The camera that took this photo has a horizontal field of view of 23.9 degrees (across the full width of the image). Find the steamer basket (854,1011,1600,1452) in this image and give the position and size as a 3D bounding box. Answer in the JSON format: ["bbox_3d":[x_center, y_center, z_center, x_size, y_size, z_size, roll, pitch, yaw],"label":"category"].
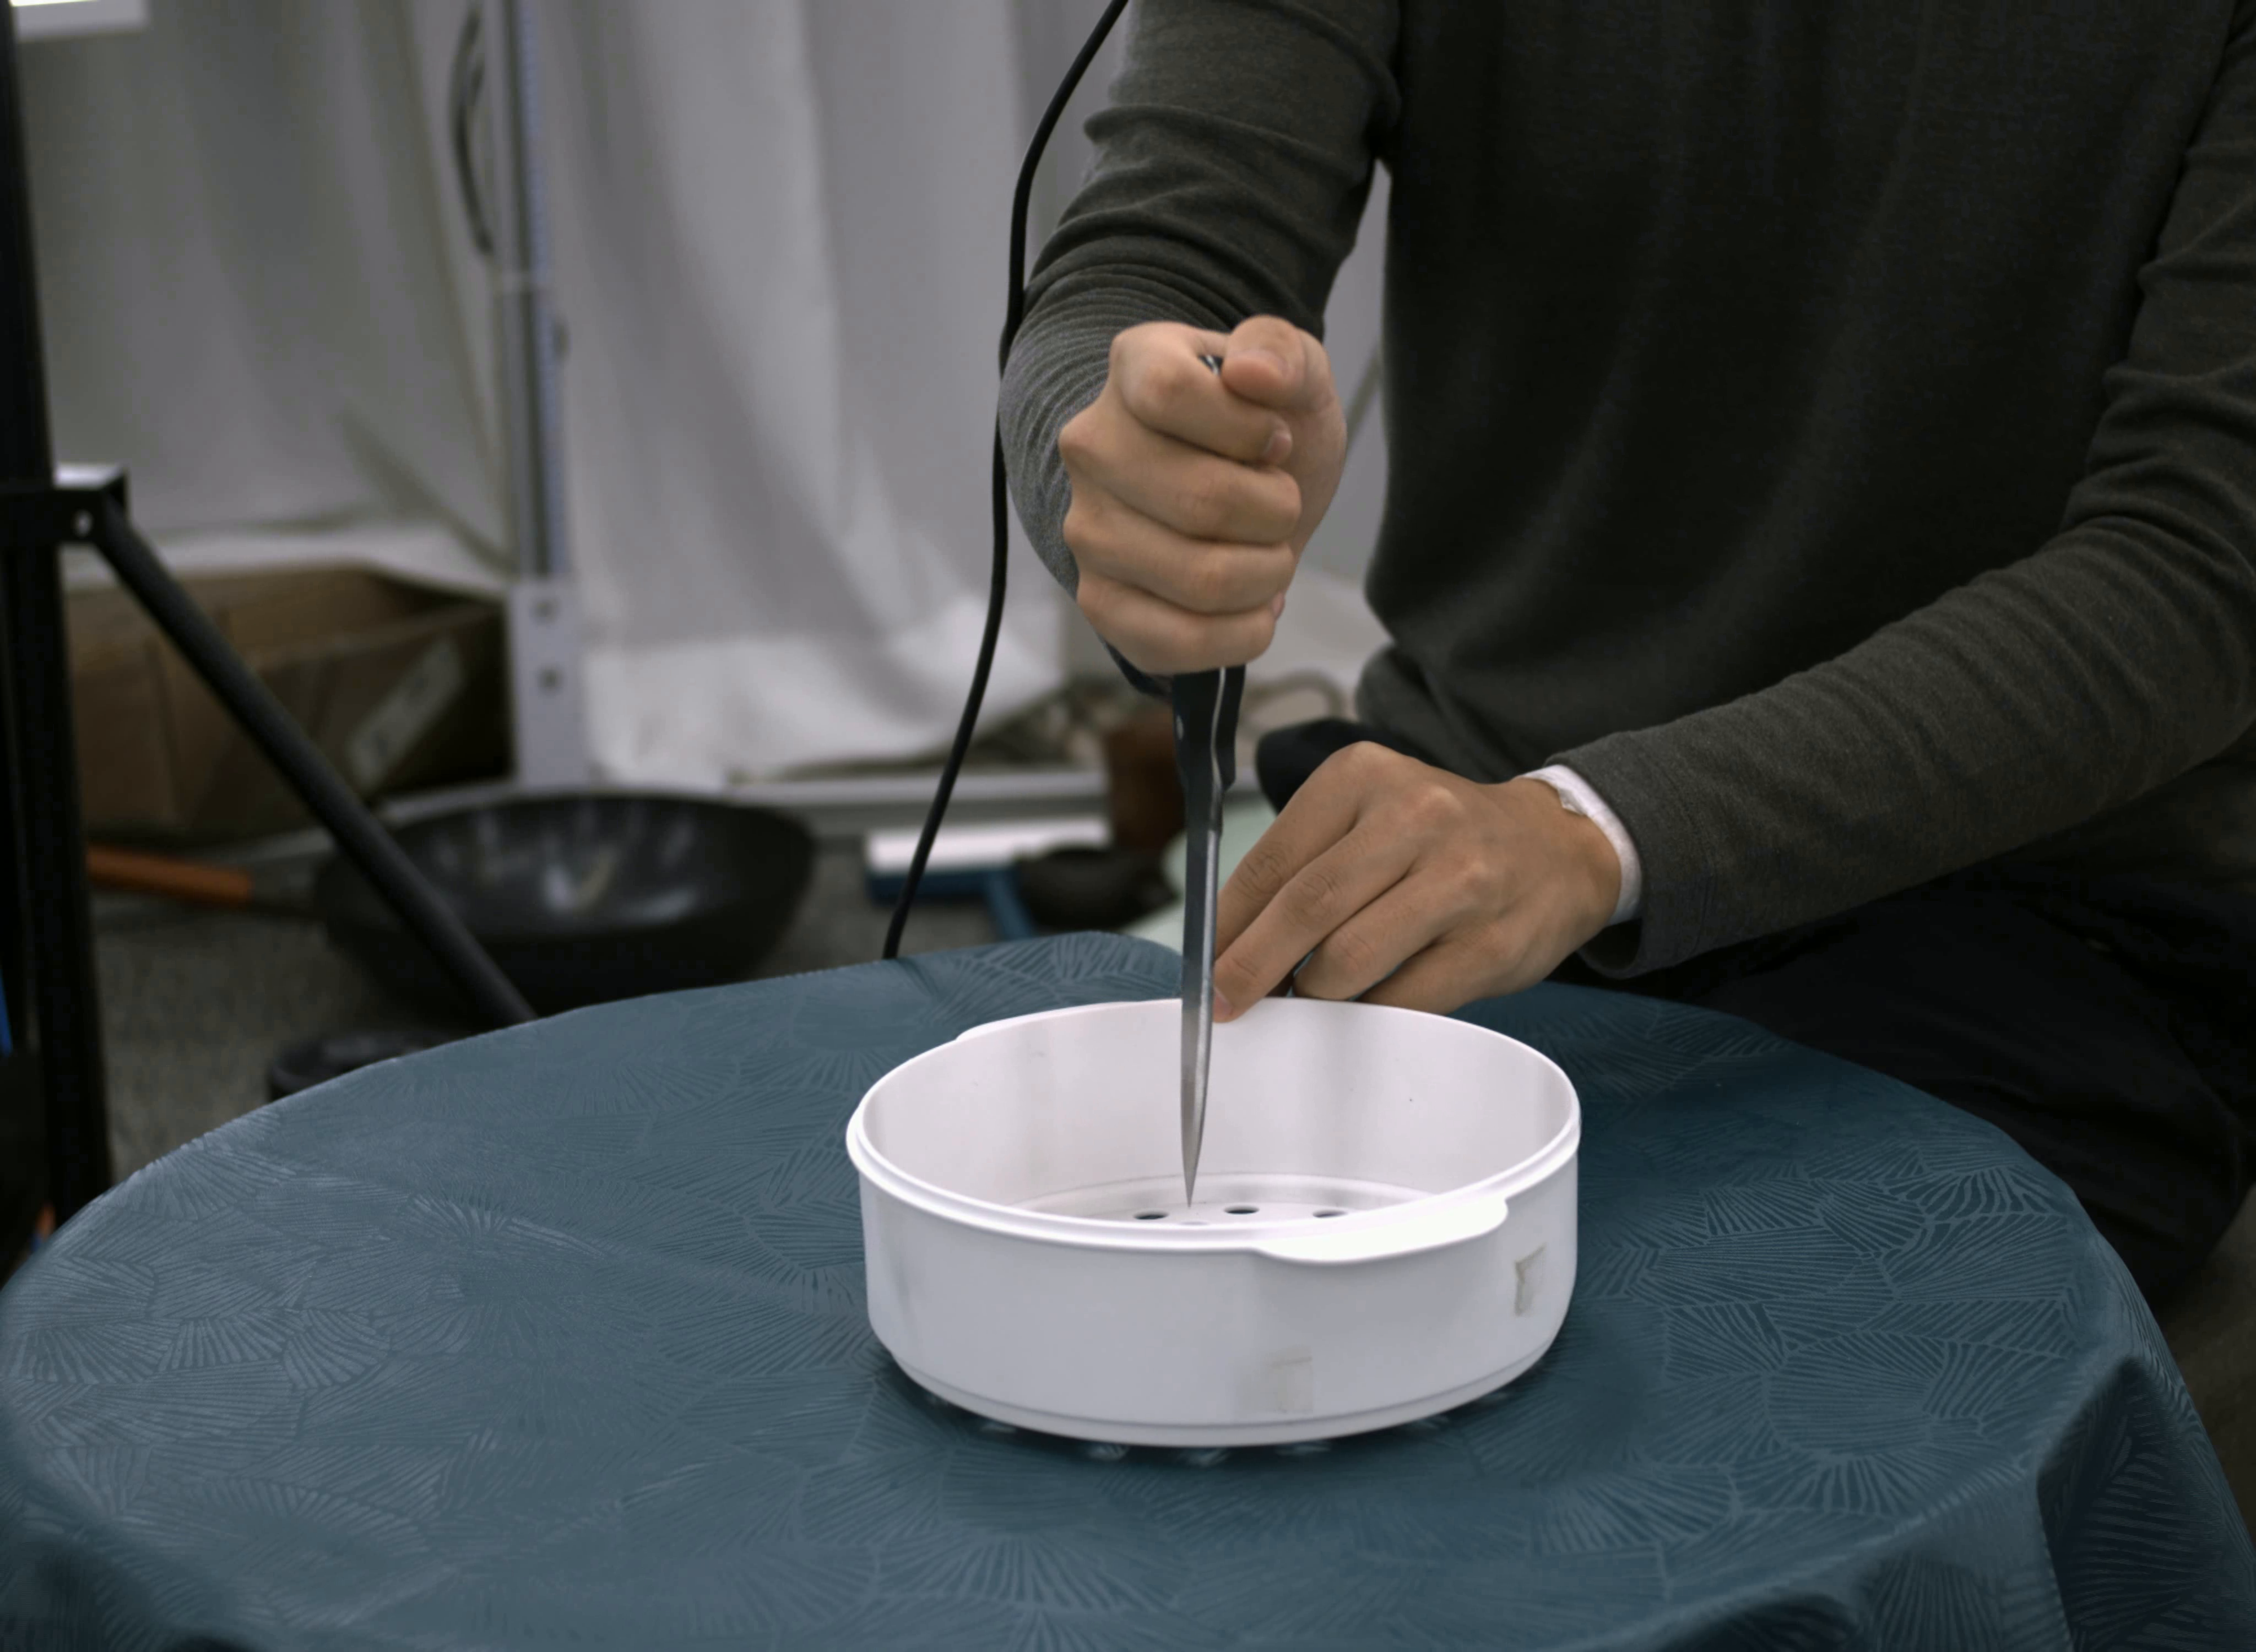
[{"bbox_3d":[0.027,0.109,1.433,0.198,0.069,0.235,-8,15,-22],"label":"steamer basket"}]

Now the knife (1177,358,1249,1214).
[{"bbox_3d":[0.021,-0.008,1.398,0.016,0.238,0.025,-4,20,-13],"label":"knife"}]
